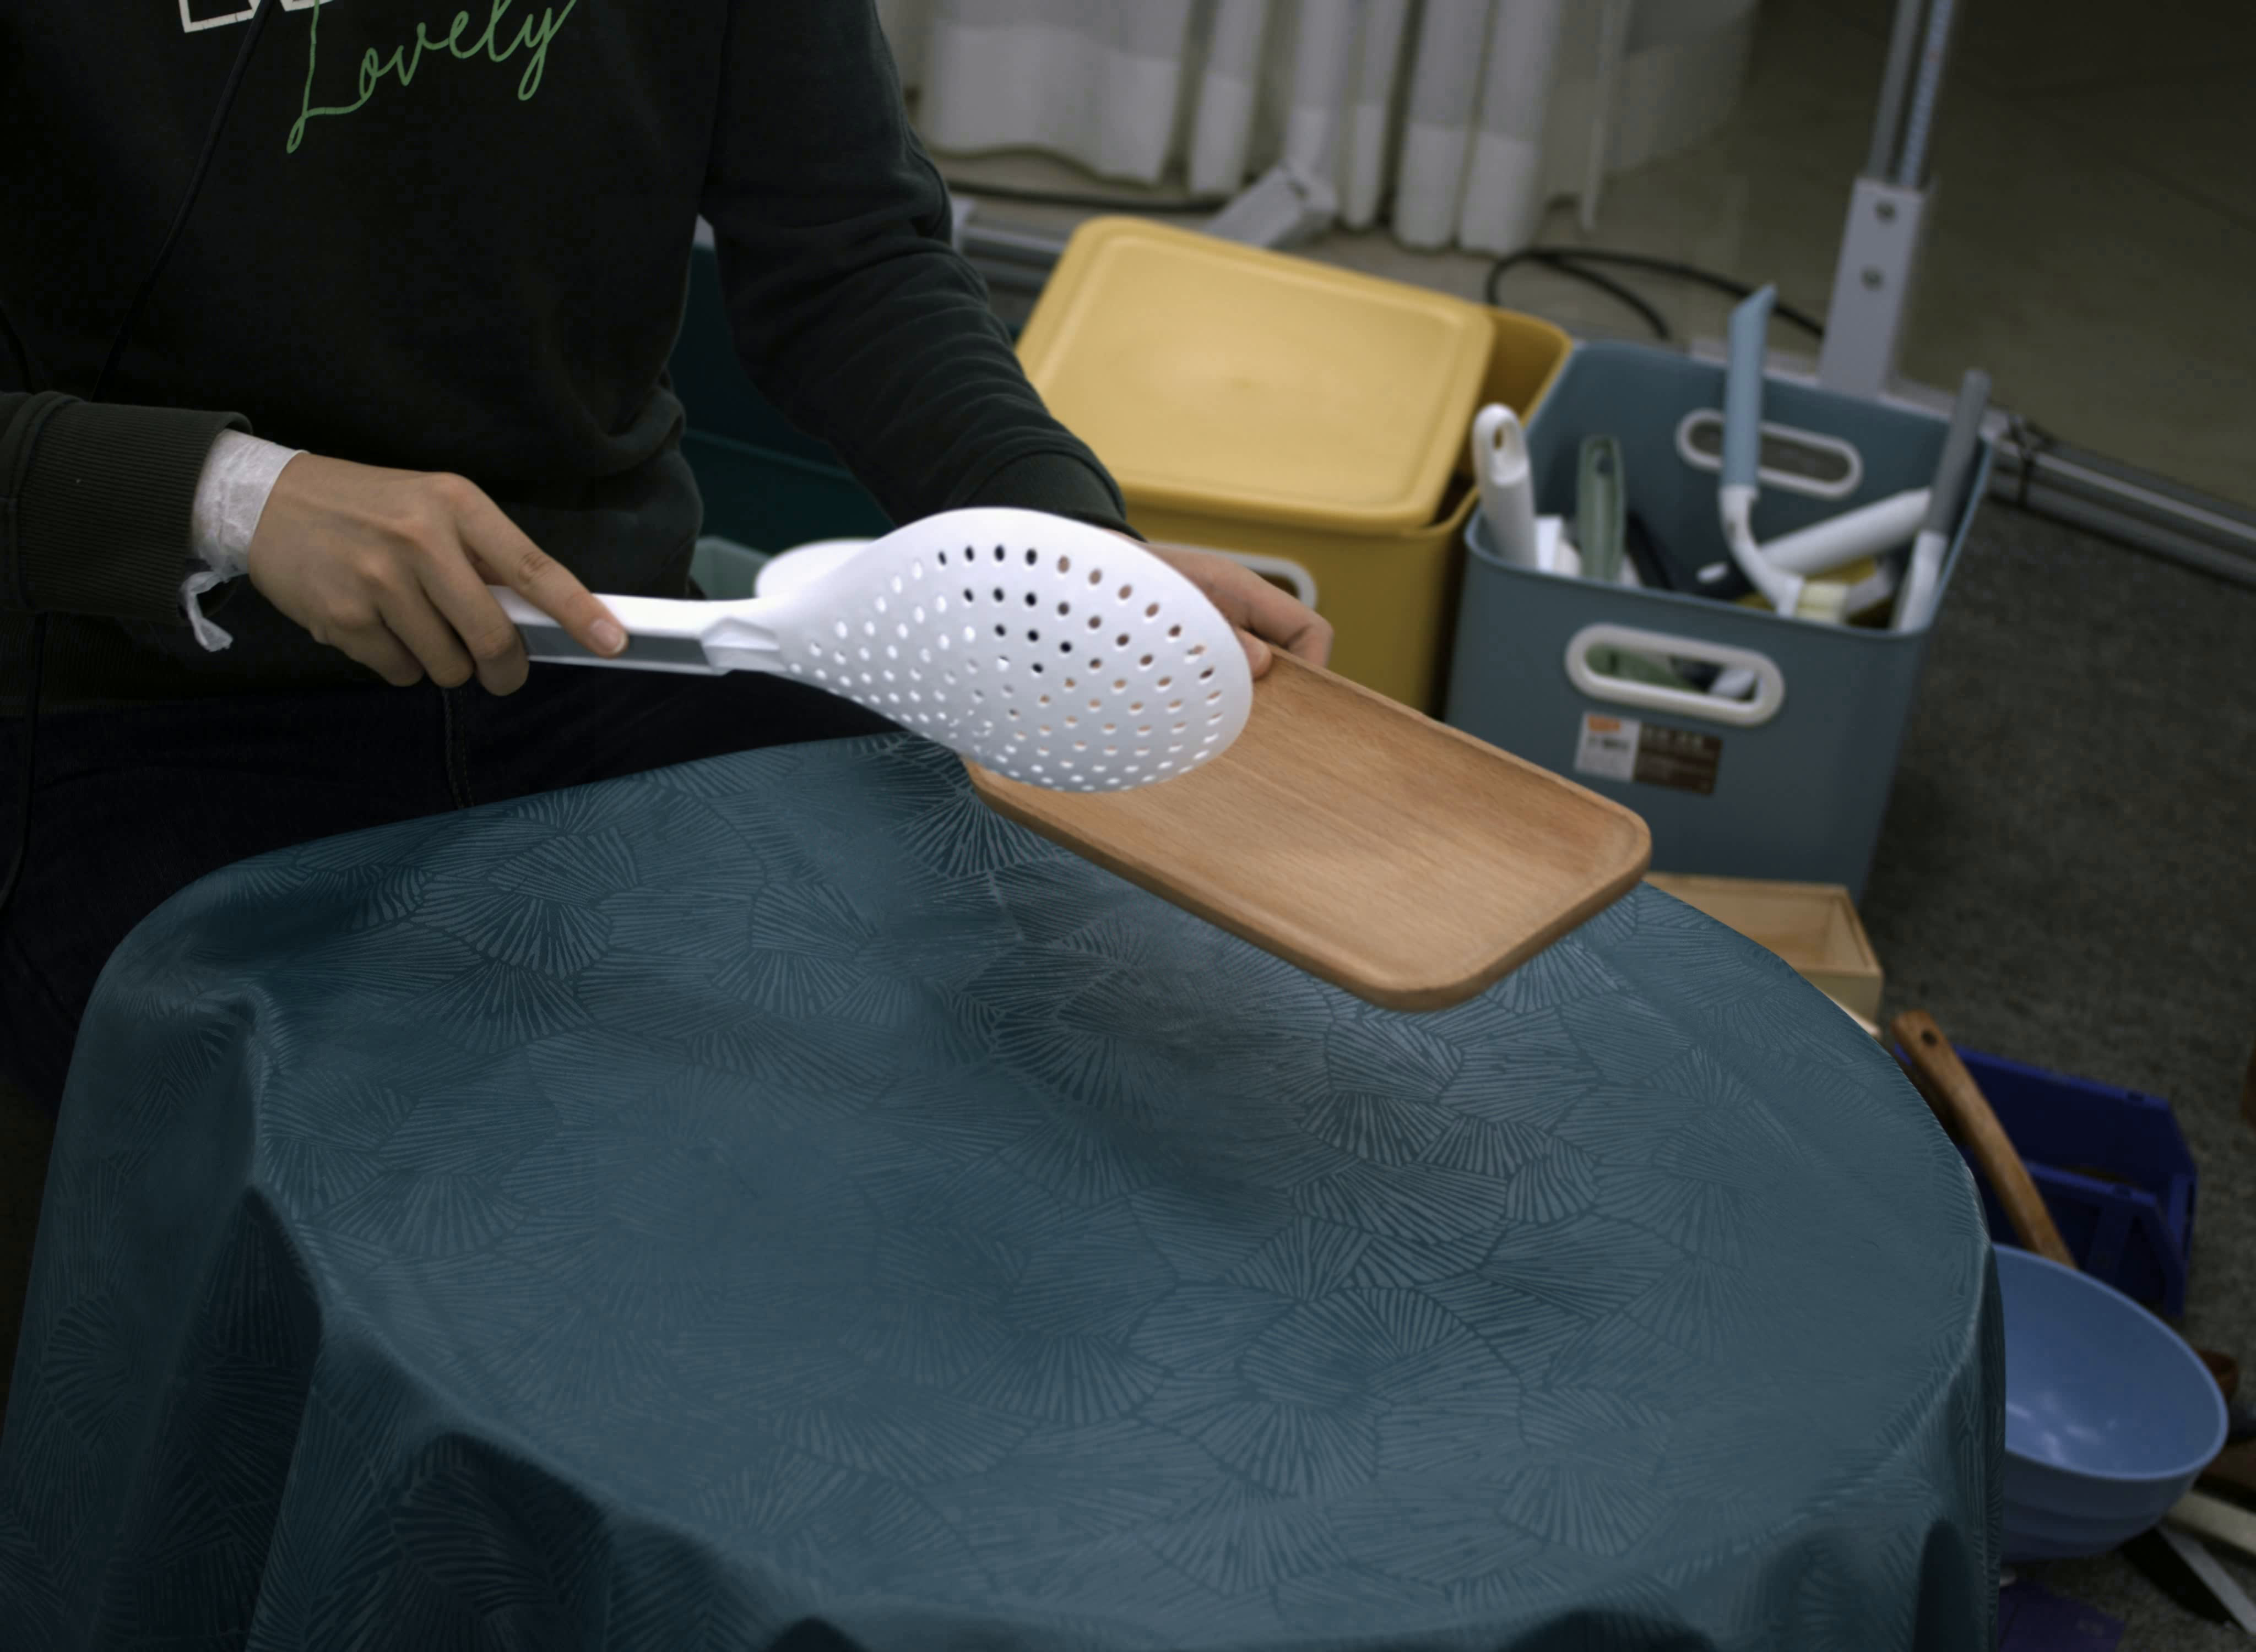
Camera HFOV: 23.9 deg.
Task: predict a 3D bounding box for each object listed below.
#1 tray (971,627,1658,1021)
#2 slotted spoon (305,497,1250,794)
[{"bbox_3d":[0.062,-0.003,1.849,0.130,0.023,0.252,-30,36,-30],"label":"tray"},{"bbox_3d":[-0.126,-0.063,1.807,0.351,0.135,0.046,8,52,26],"label":"slotted spoon"}]
